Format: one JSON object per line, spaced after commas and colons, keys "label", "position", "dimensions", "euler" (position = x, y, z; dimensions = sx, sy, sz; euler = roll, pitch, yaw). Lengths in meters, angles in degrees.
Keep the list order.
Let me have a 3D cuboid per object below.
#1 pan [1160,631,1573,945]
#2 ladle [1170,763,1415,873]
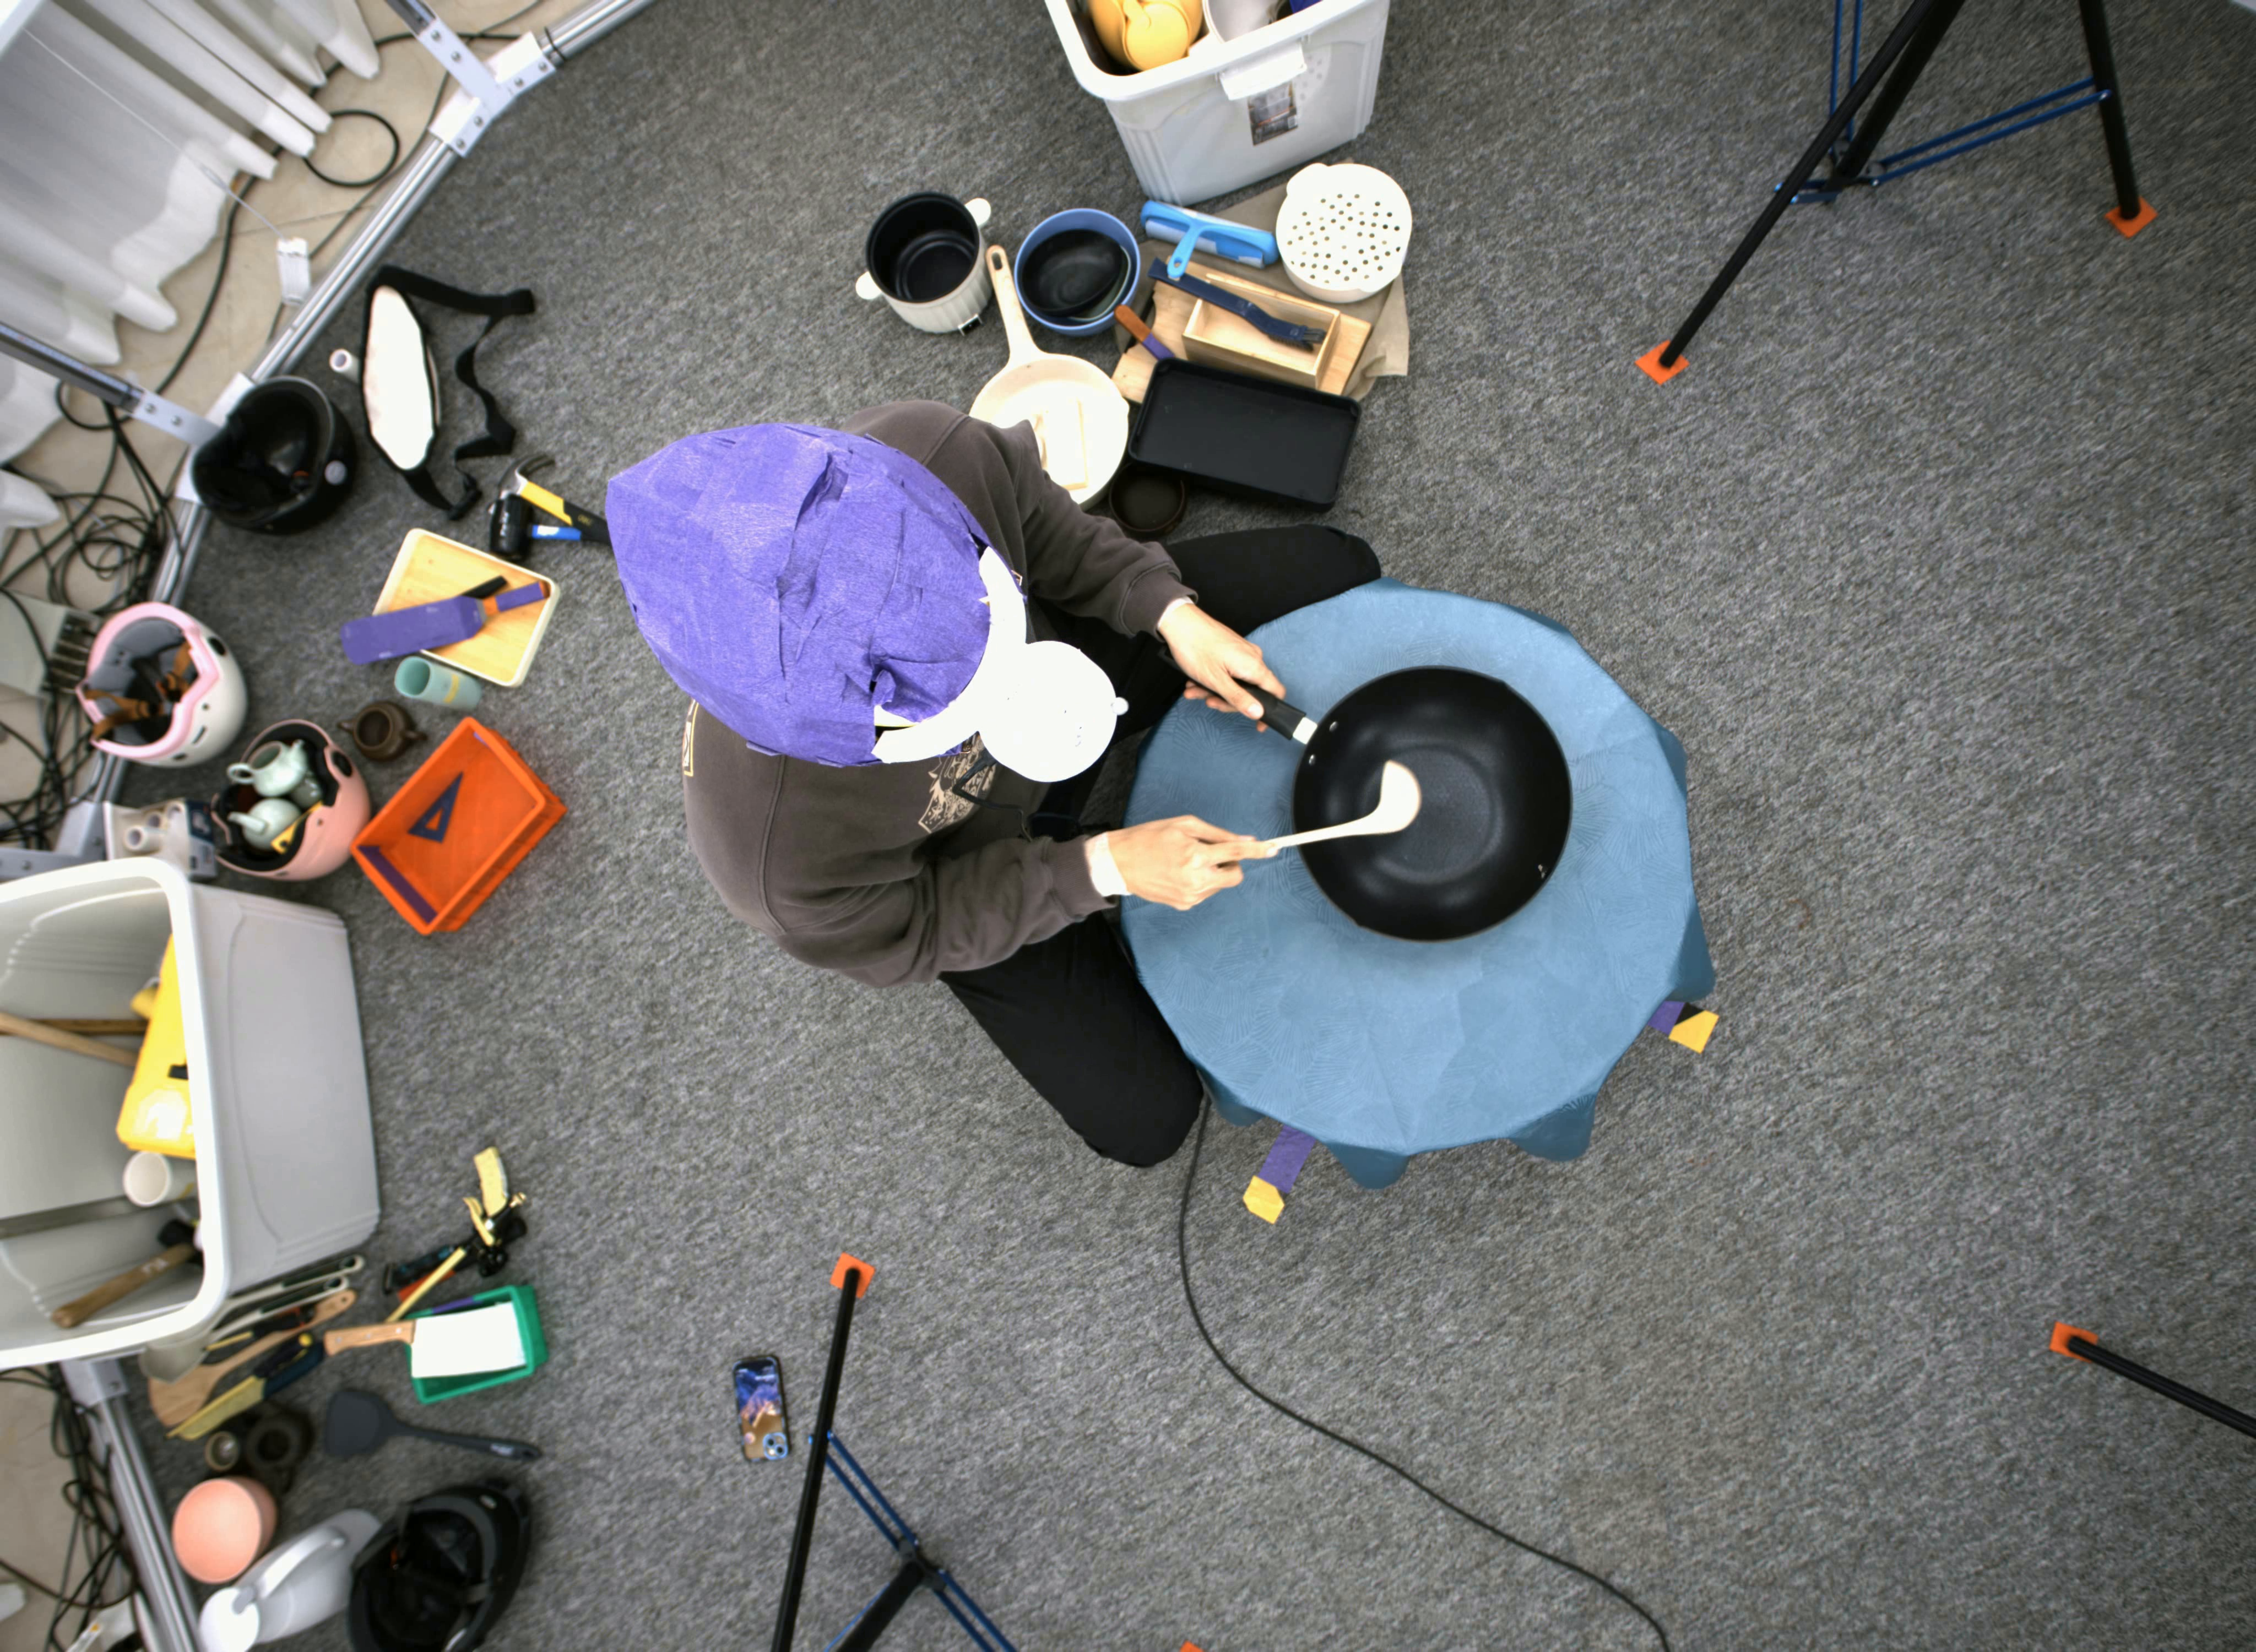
{"label": "pan", "position": [0.232, -0.066, 1.430], "dimensions": [0.462, 0.087, 0.289], "euler": [32, 93, 12]}
{"label": "ladle", "position": [0.158, -0.007, 1.375], "dimensions": [0.254, 0.074, 0.071], "euler": [-12, 46, -3]}
